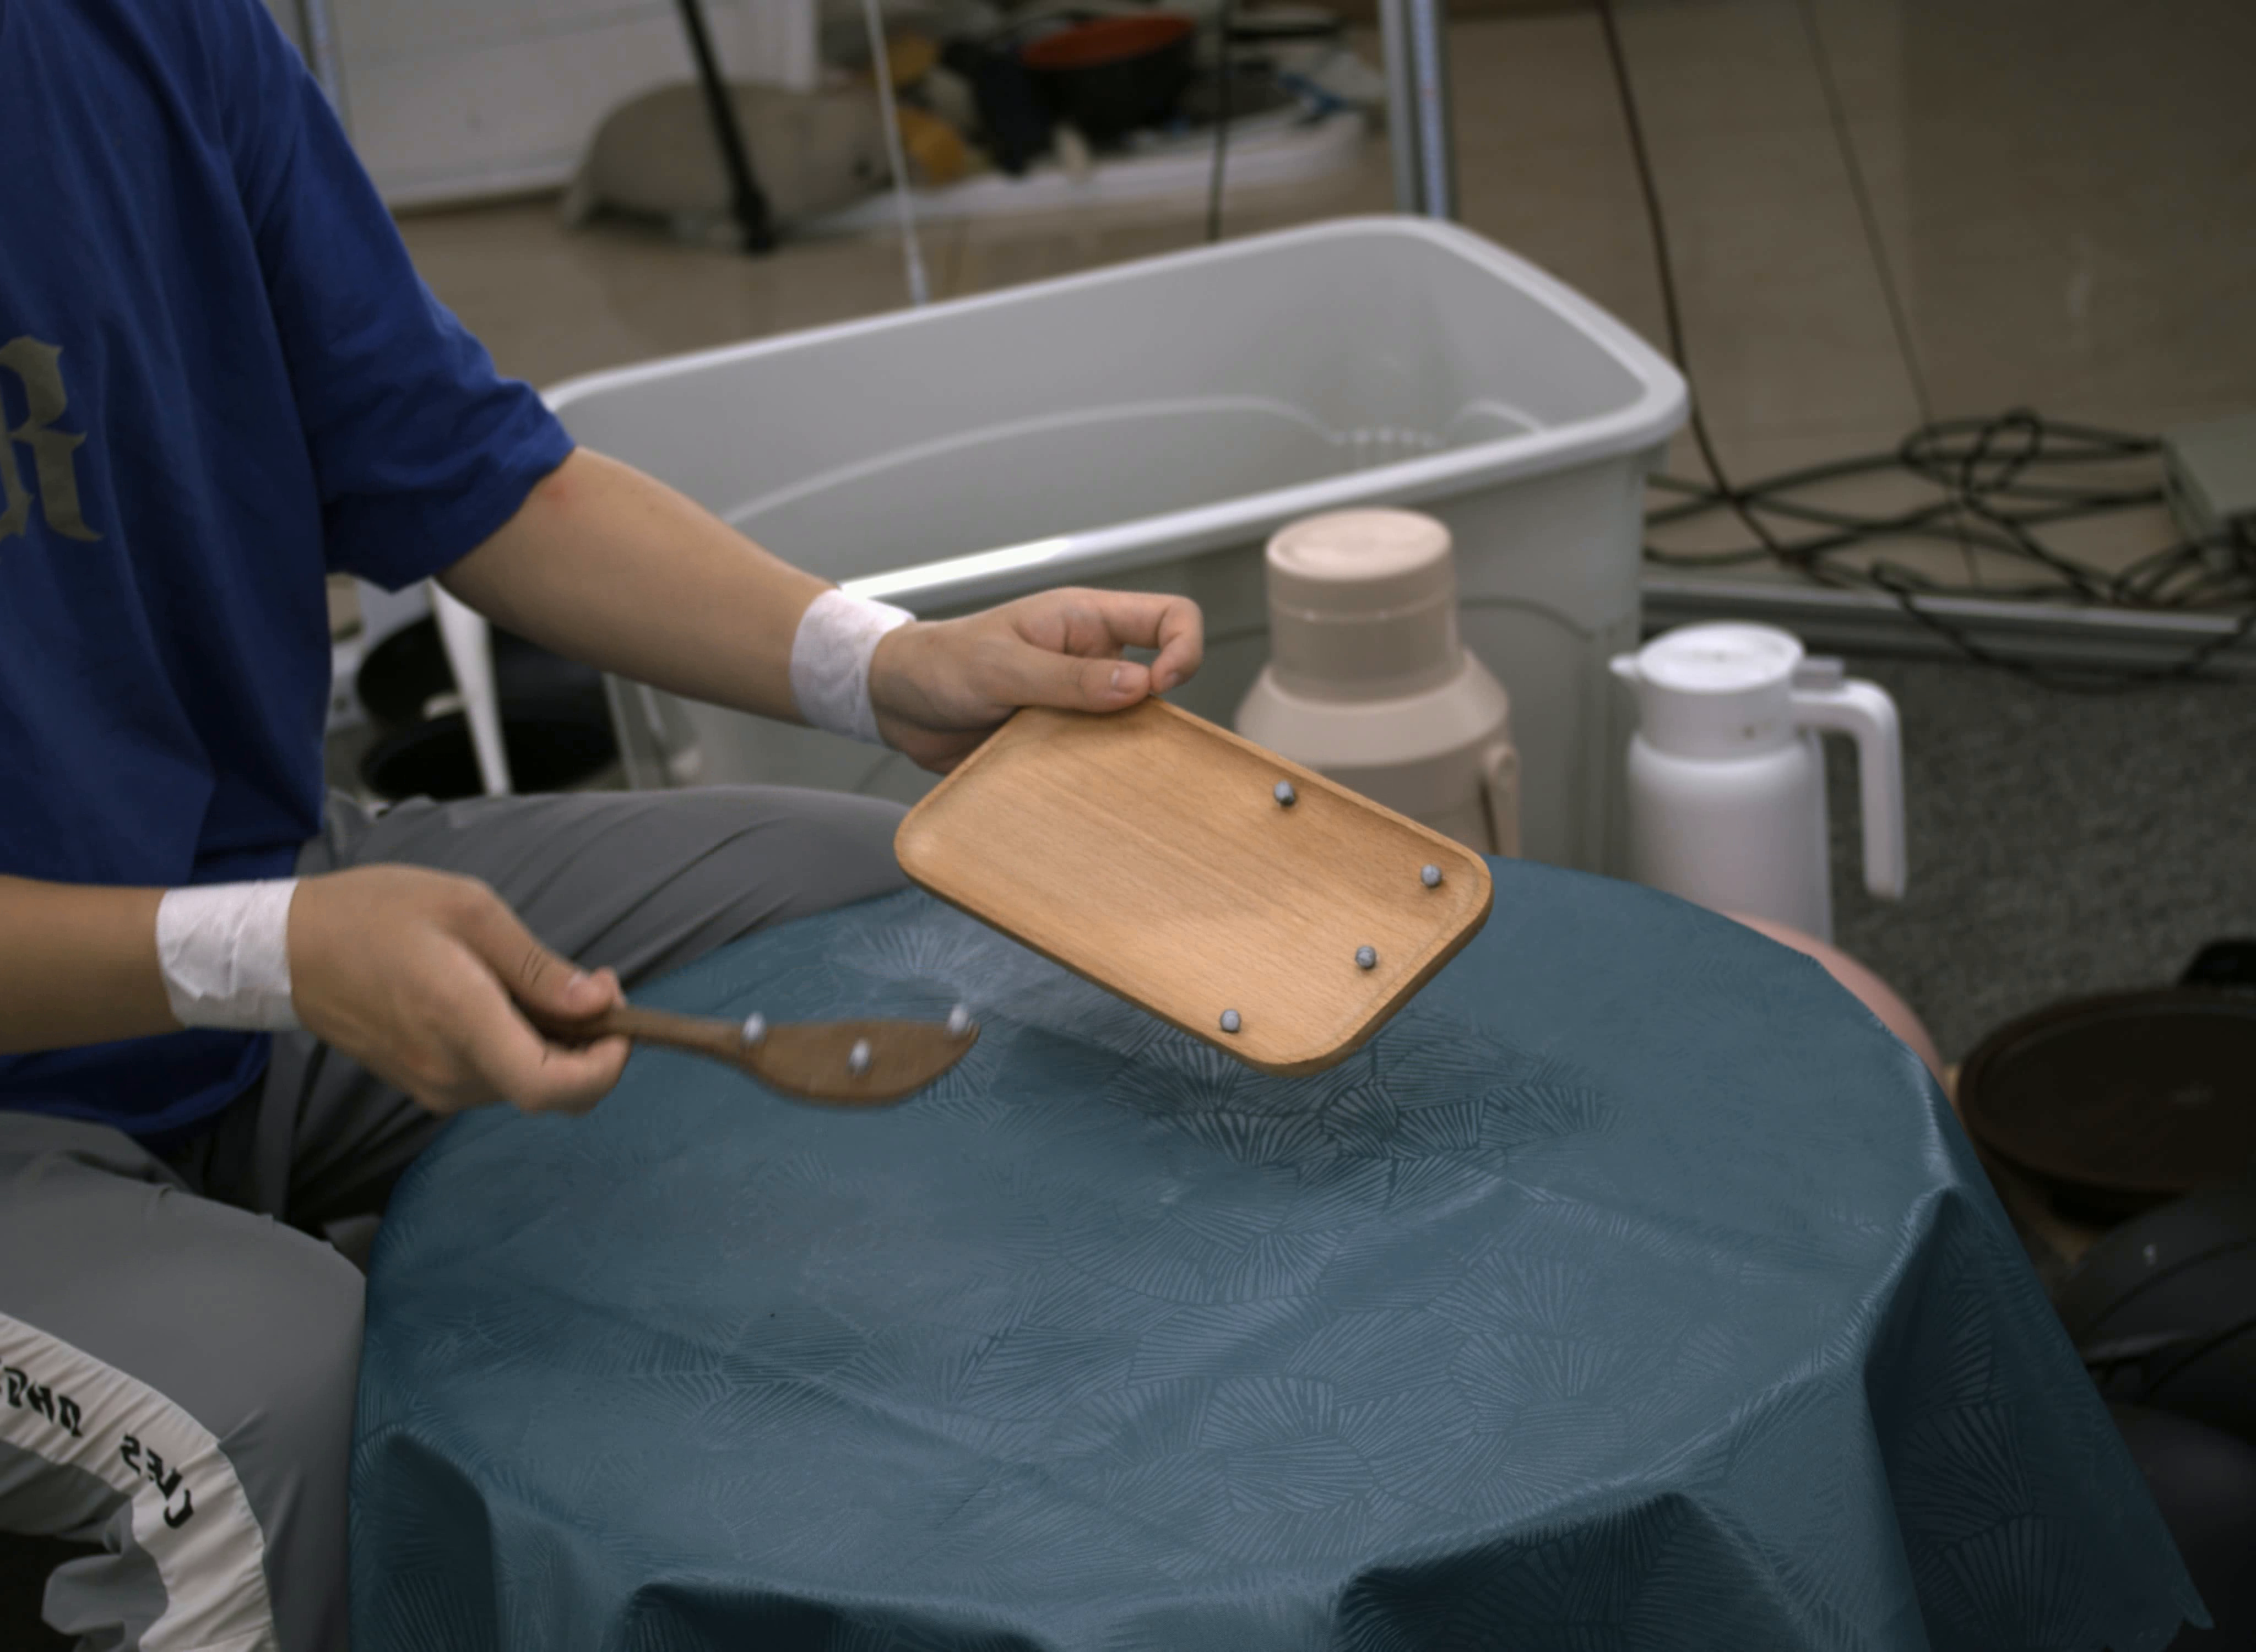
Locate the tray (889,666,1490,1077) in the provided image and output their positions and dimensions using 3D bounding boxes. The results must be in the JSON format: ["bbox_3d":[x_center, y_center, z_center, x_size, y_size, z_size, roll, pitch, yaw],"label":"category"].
[{"bbox_3d":[0.022,0.016,2.219,0.129,0.023,0.248,-41,45,-23],"label":"tray"}]

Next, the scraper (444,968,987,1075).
[{"bbox_3d":[-0.156,0.068,2.078,0.210,0.011,0.075,6,20,23],"label":"scraper"}]
